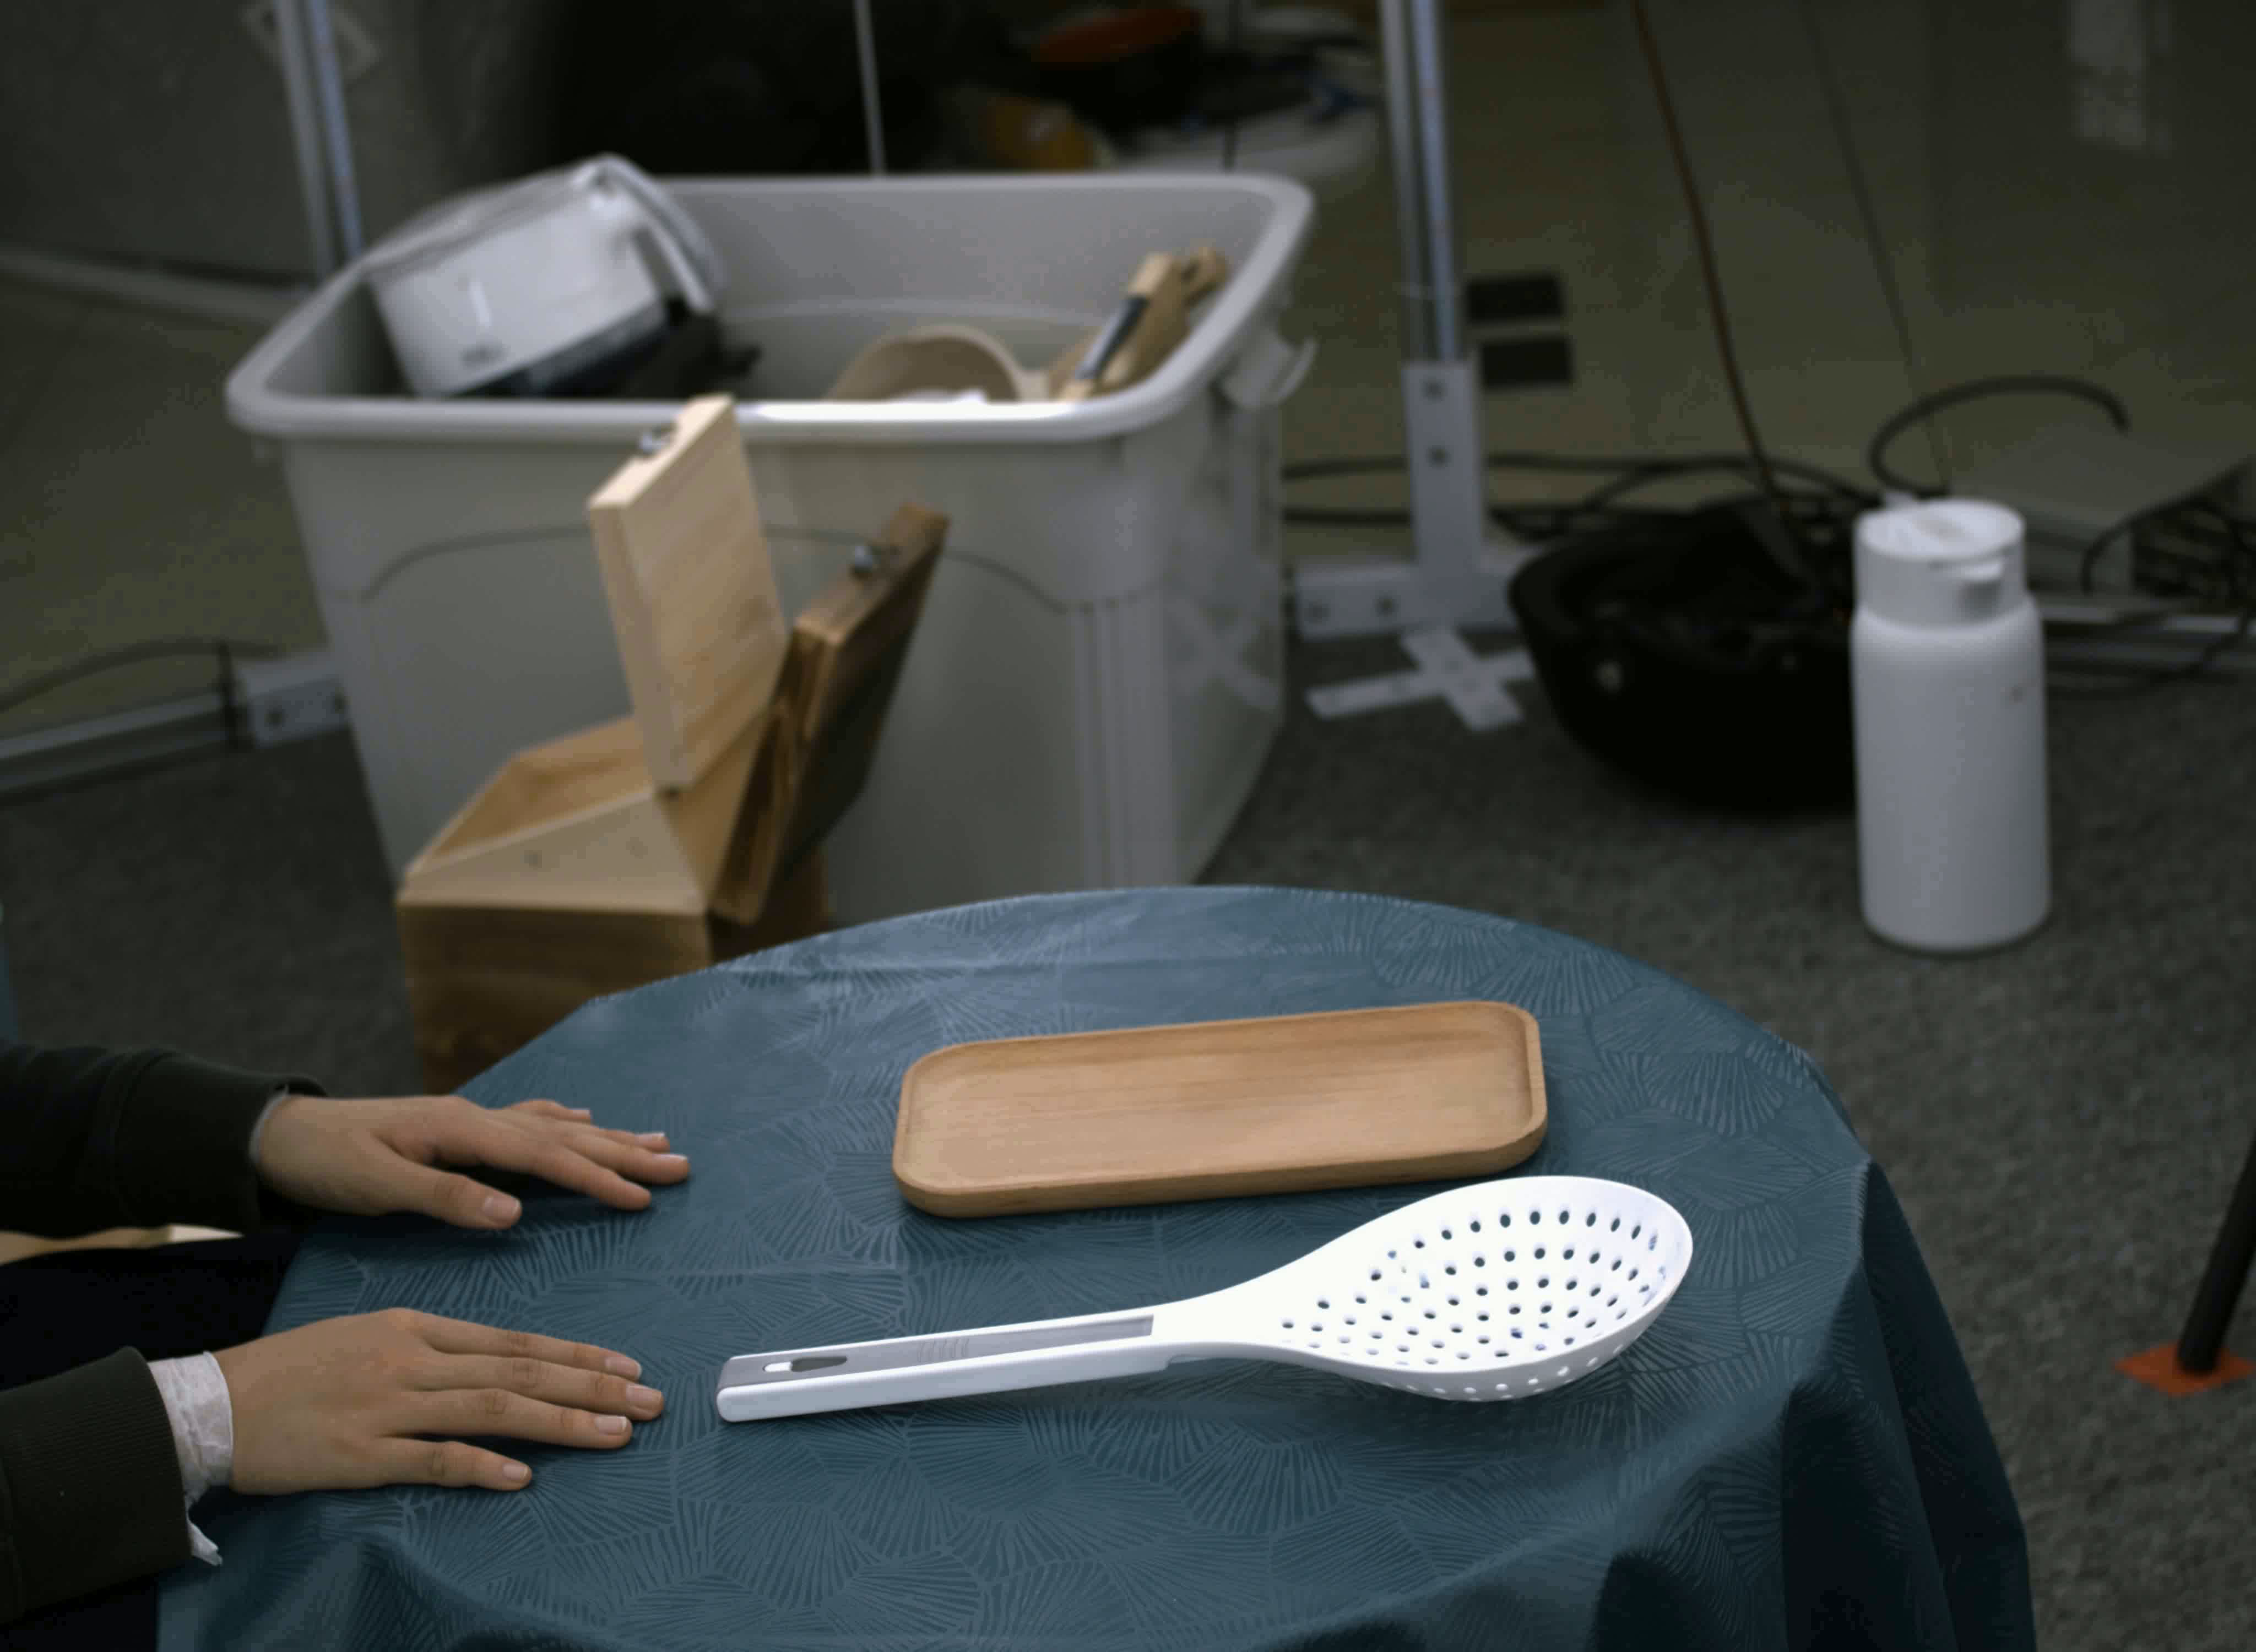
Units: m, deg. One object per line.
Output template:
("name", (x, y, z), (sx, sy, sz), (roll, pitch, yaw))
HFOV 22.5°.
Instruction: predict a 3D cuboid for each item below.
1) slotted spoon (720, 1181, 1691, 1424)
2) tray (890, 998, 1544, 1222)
("slotted spoon", (0.026, 0.179, 2.007), (0.349, 0.046, 0.134), (-4, 23, 7))
("tray", (0.035, 0.110, 2.188), (0.250, 0.023, 0.129), (-5, 23, 4))
